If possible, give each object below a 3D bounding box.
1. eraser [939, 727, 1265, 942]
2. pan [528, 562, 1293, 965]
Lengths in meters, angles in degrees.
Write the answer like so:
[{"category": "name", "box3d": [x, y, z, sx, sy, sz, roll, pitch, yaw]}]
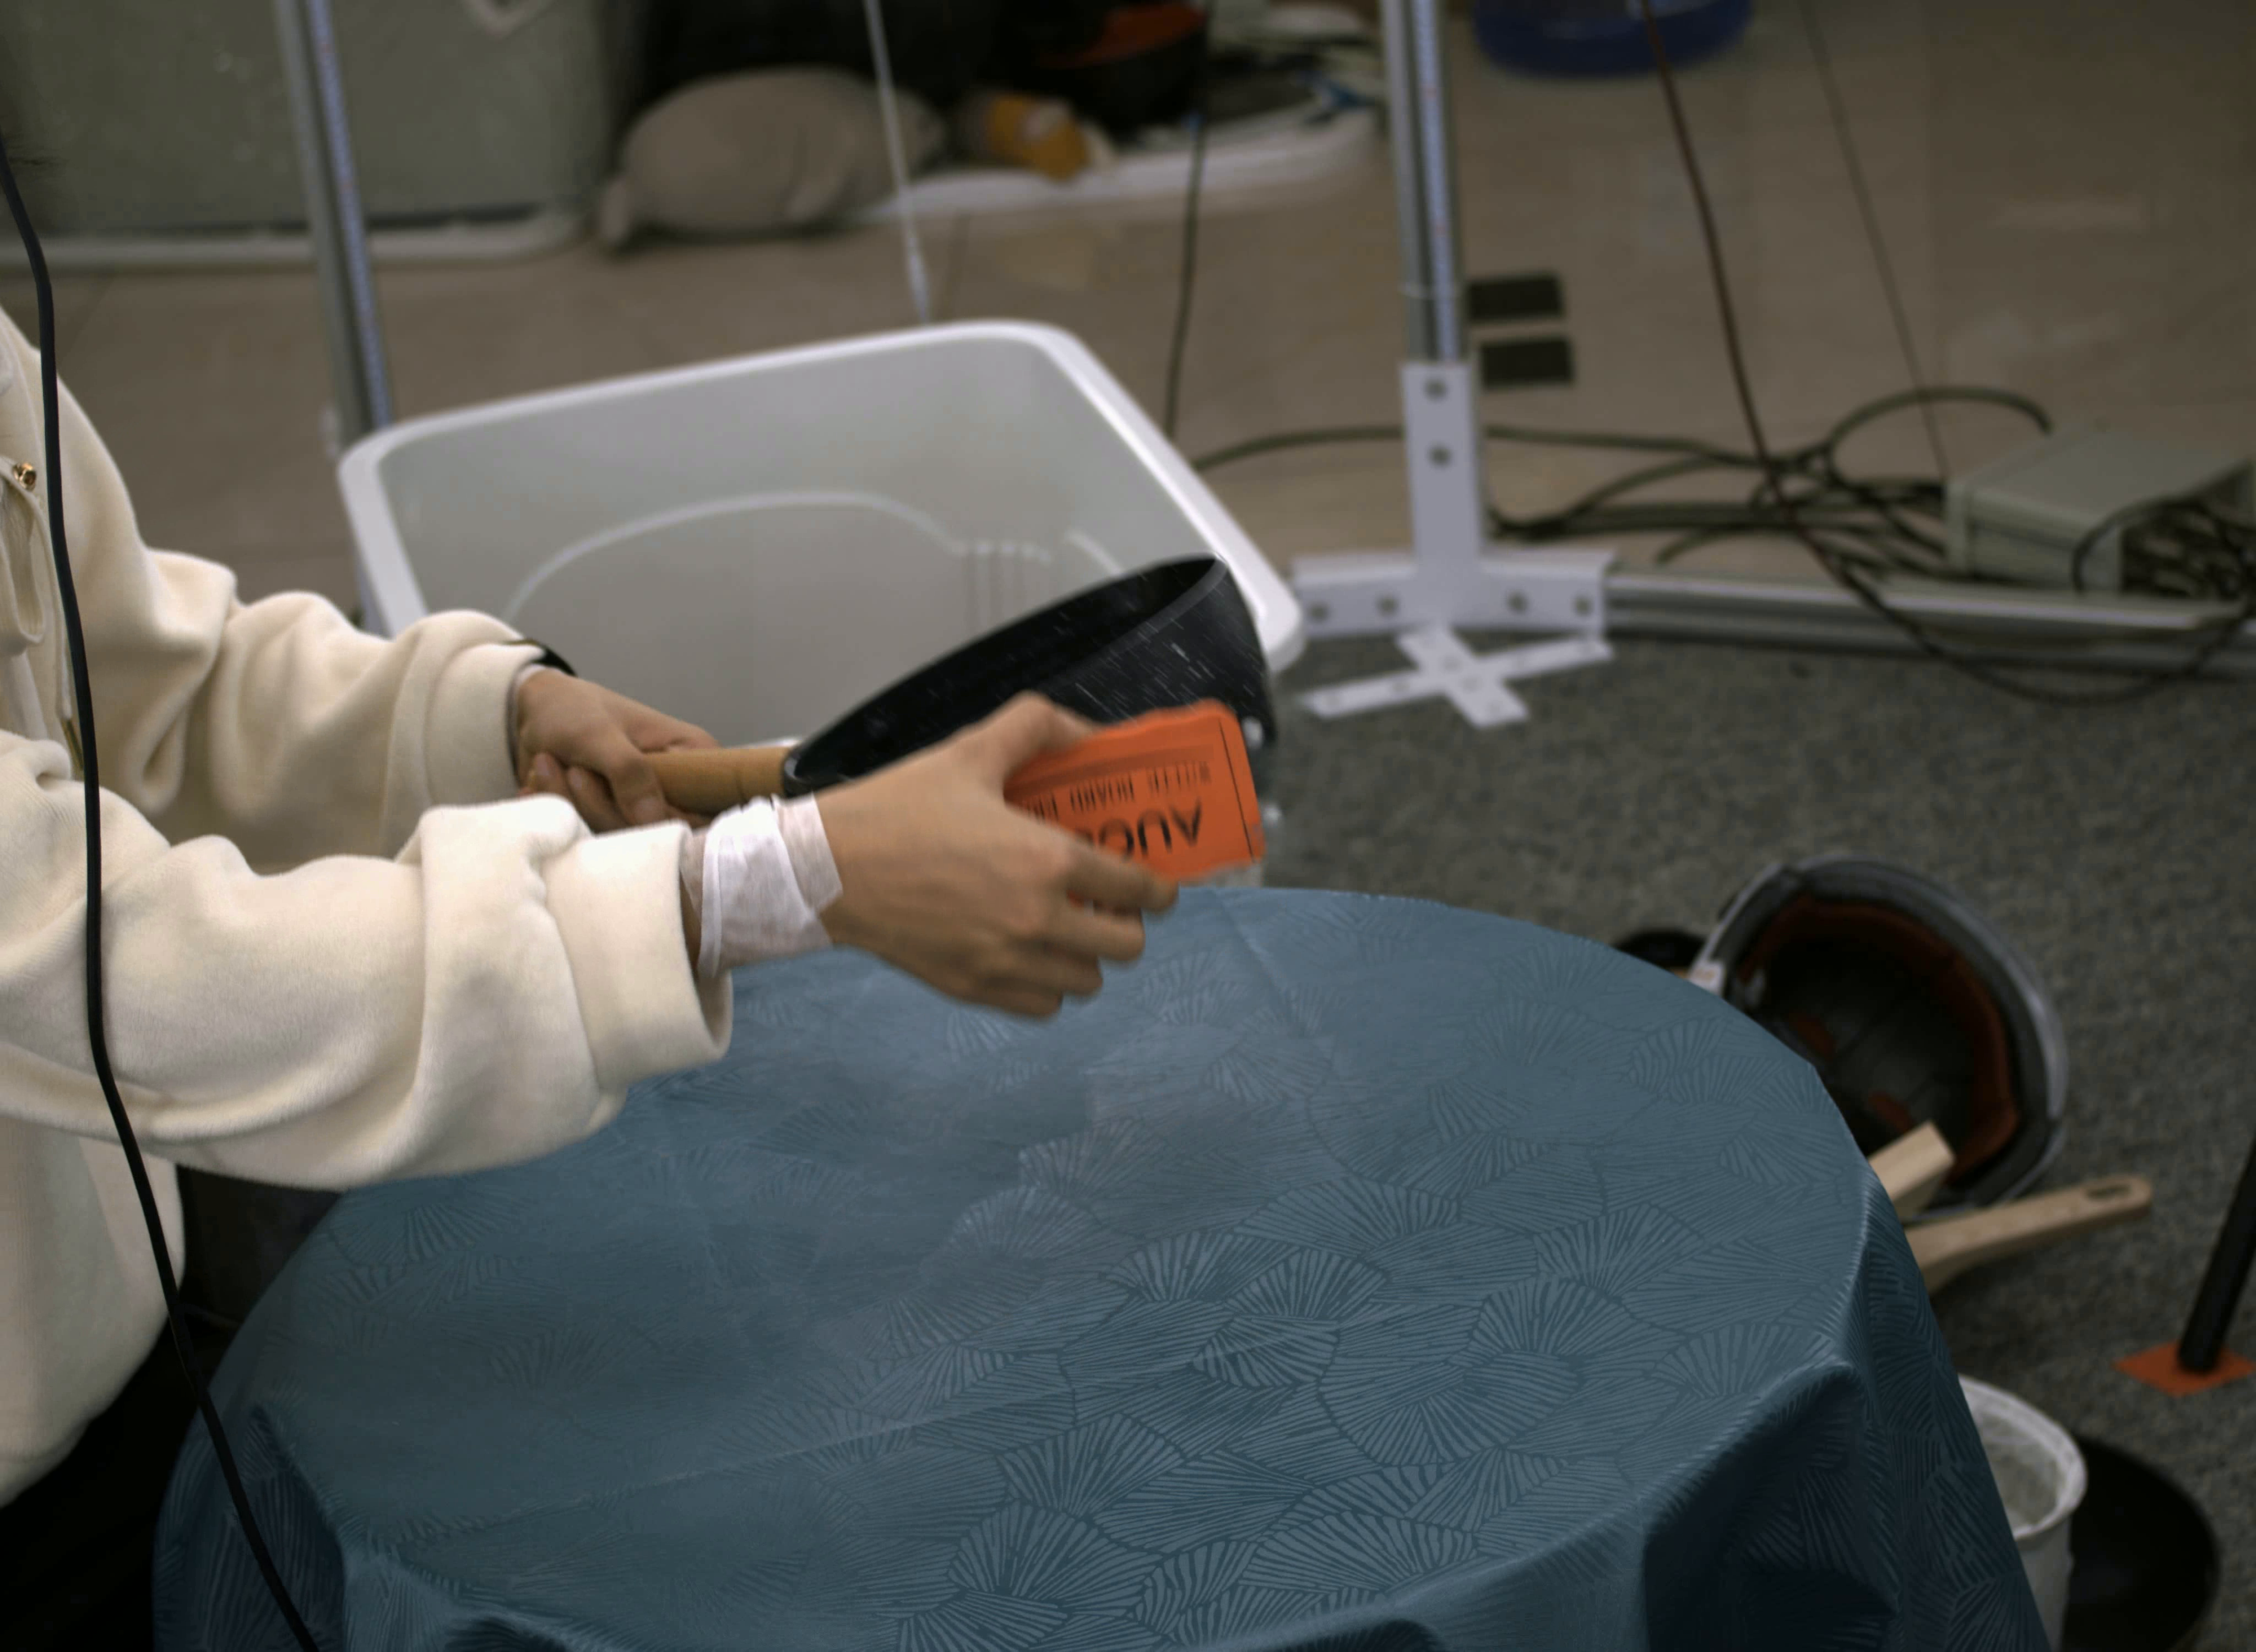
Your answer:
[{"category": "eraser", "box3d": [-0.009, 0.003, 1.972, 0.108, 0.059, 0.023, -11, 9, -2]}, {"category": "pan", "box3d": [-0.089, -0.012, 2.173, 0.344, 0.109, 0.205, -15, 16, 37]}]
